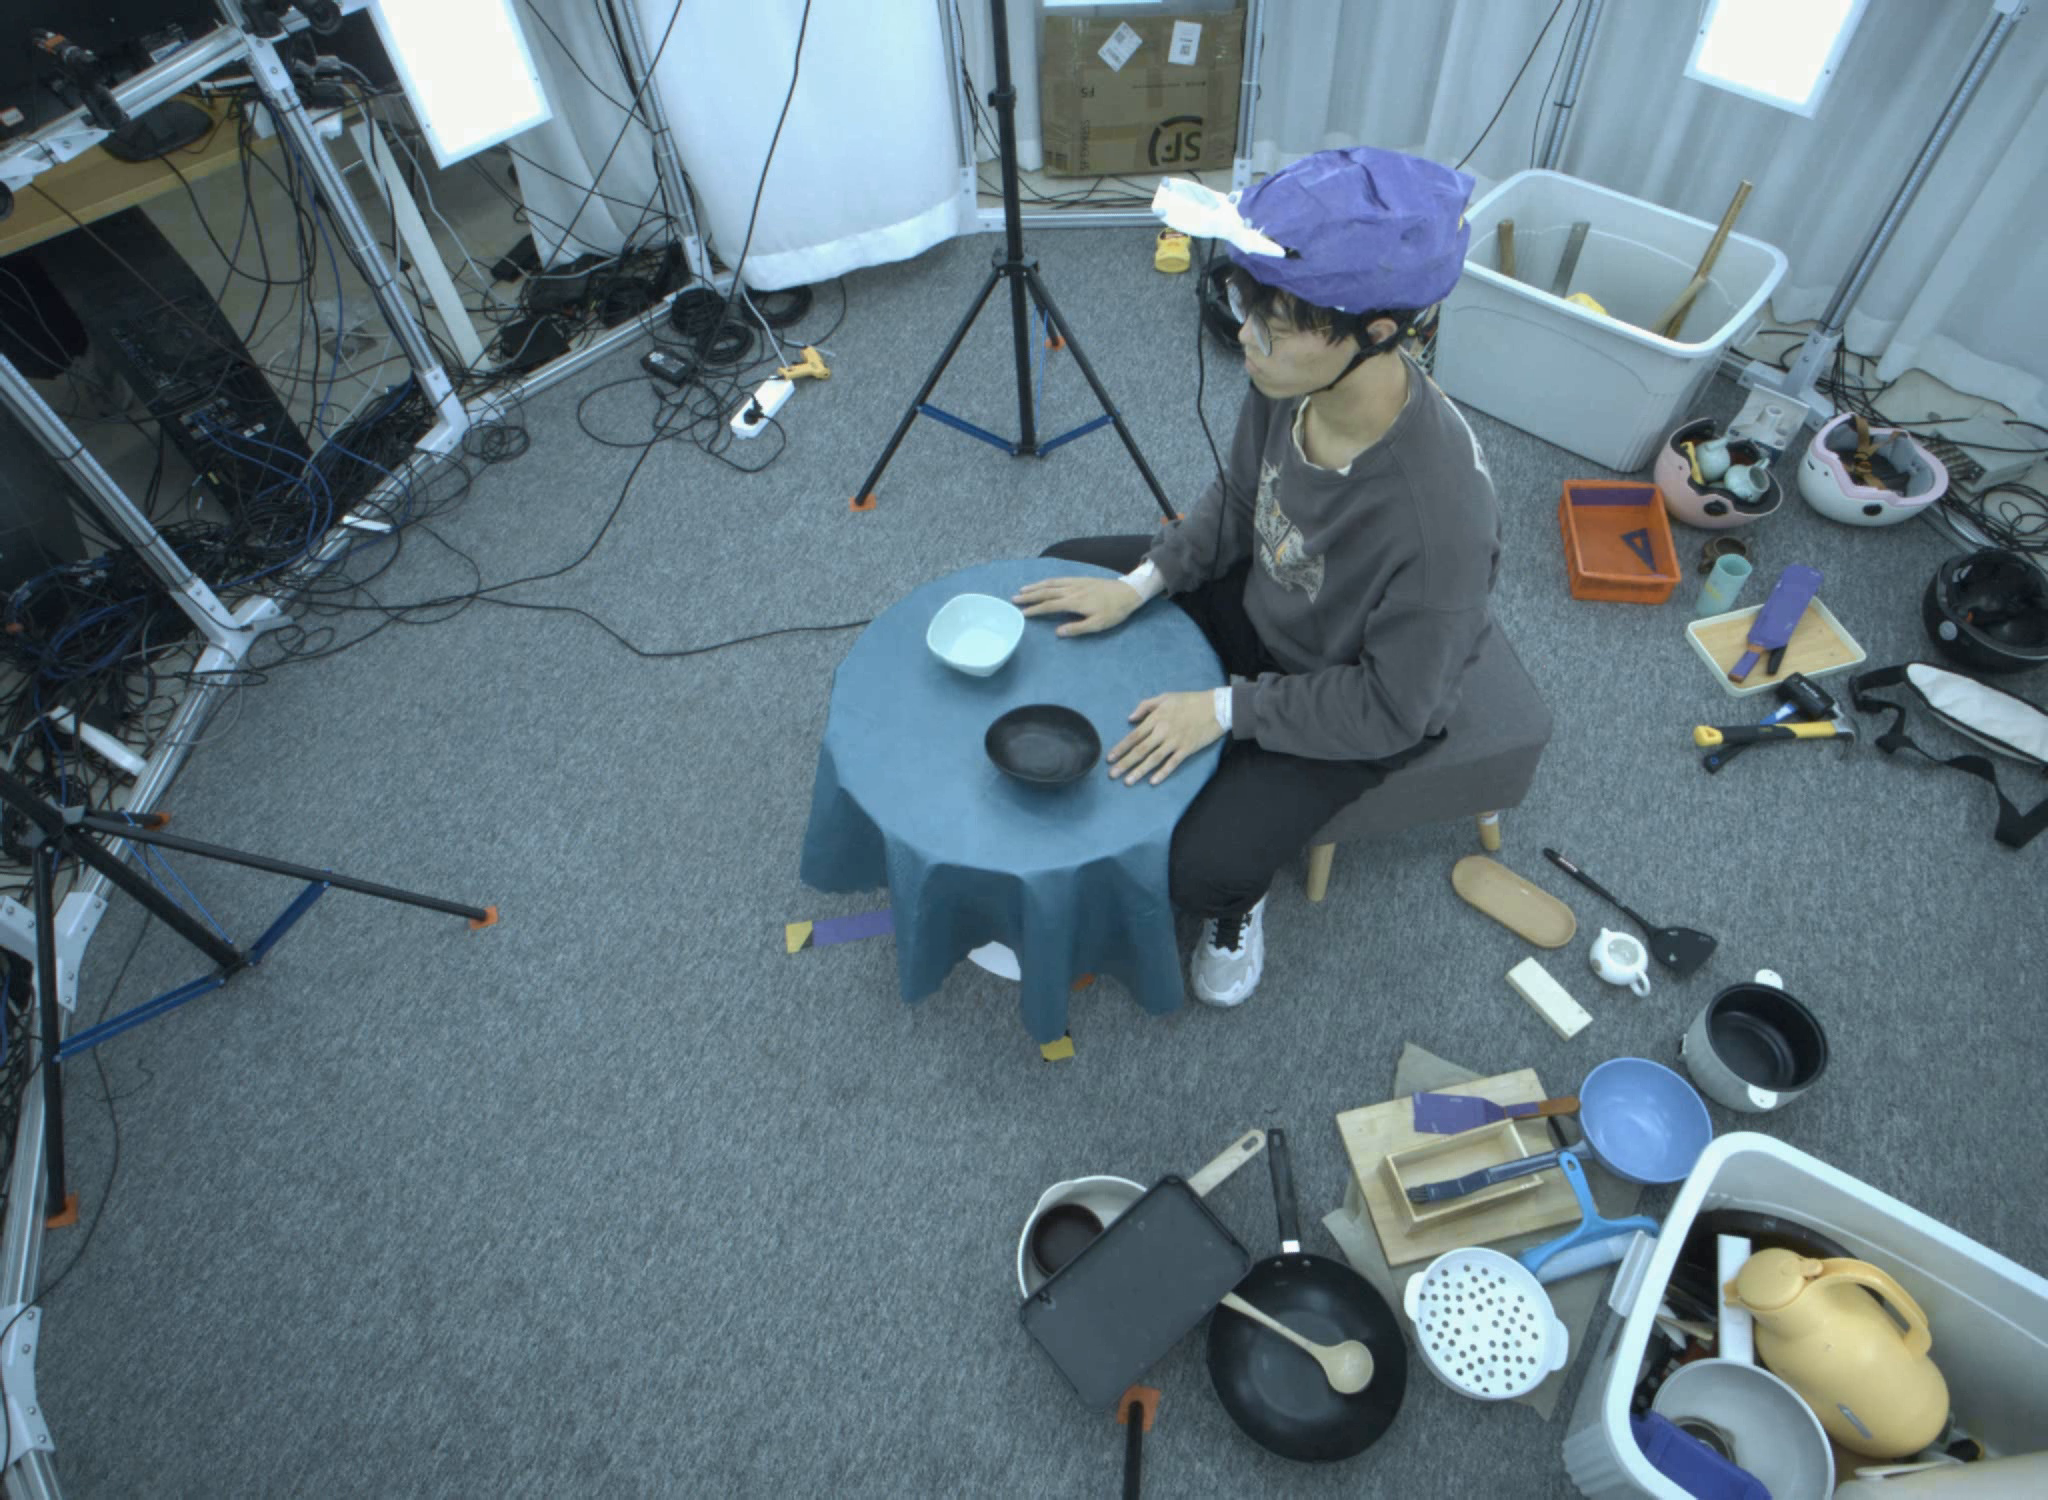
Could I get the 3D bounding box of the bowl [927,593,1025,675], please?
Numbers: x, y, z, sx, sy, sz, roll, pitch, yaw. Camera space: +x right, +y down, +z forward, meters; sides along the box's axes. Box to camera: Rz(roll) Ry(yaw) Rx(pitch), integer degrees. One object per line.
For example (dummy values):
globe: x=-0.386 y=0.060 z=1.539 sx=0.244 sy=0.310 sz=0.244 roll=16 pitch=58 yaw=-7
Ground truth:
bowl: x=-0.071 y=-0.167 z=1.872 sx=0.151 sy=0.059 sz=0.150 roll=-1 pitch=56 yaw=3

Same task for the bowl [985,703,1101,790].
bowl: x=0.026 y=0.006 z=1.741 sx=0.168 sy=0.067 sz=0.137 roll=13 pitch=56 yaw=13
